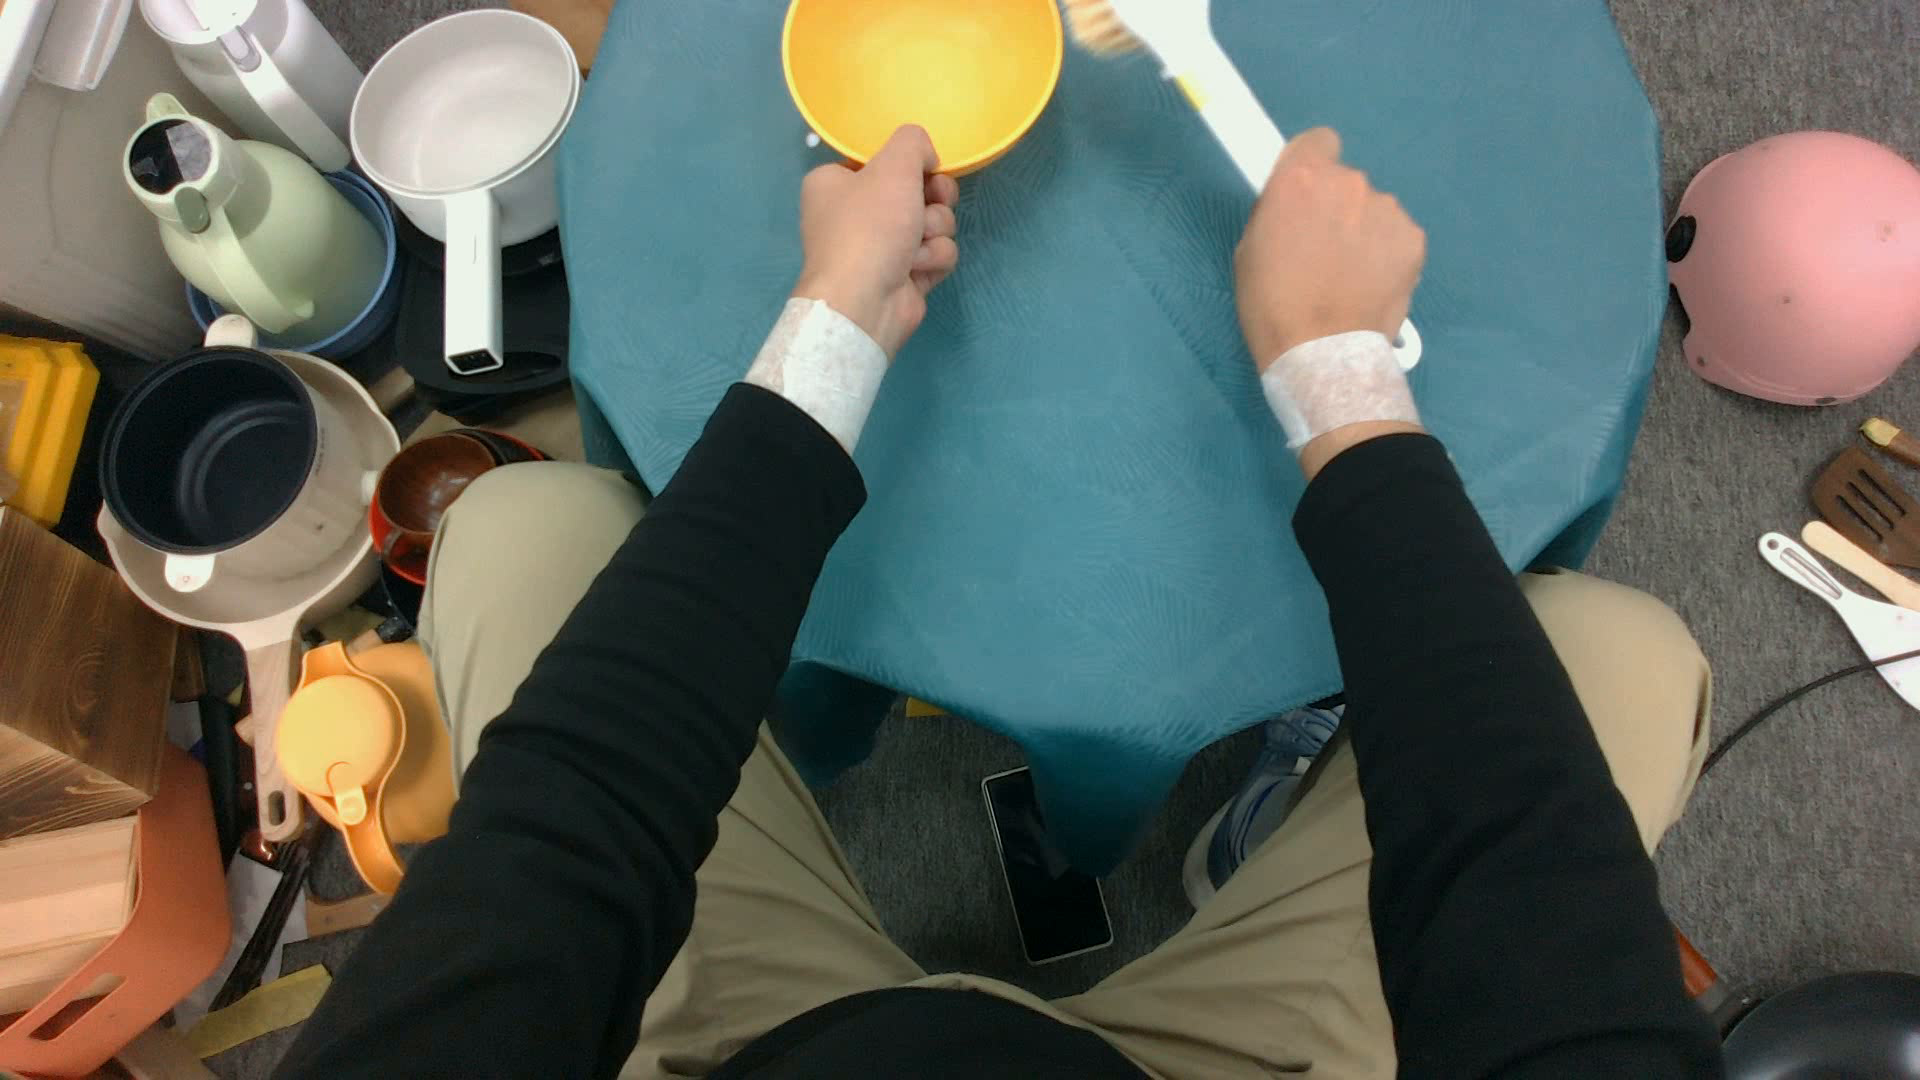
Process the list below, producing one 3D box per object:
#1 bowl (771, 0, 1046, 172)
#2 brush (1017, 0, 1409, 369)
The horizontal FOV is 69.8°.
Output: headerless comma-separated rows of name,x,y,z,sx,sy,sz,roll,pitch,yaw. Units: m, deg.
bowl,-0.025,-0.255,0.740,0.145,0.060,0.145,0,78,3
brush,0.126,-0.187,0.692,0.068,0.056,0.266,-41,95,-14
